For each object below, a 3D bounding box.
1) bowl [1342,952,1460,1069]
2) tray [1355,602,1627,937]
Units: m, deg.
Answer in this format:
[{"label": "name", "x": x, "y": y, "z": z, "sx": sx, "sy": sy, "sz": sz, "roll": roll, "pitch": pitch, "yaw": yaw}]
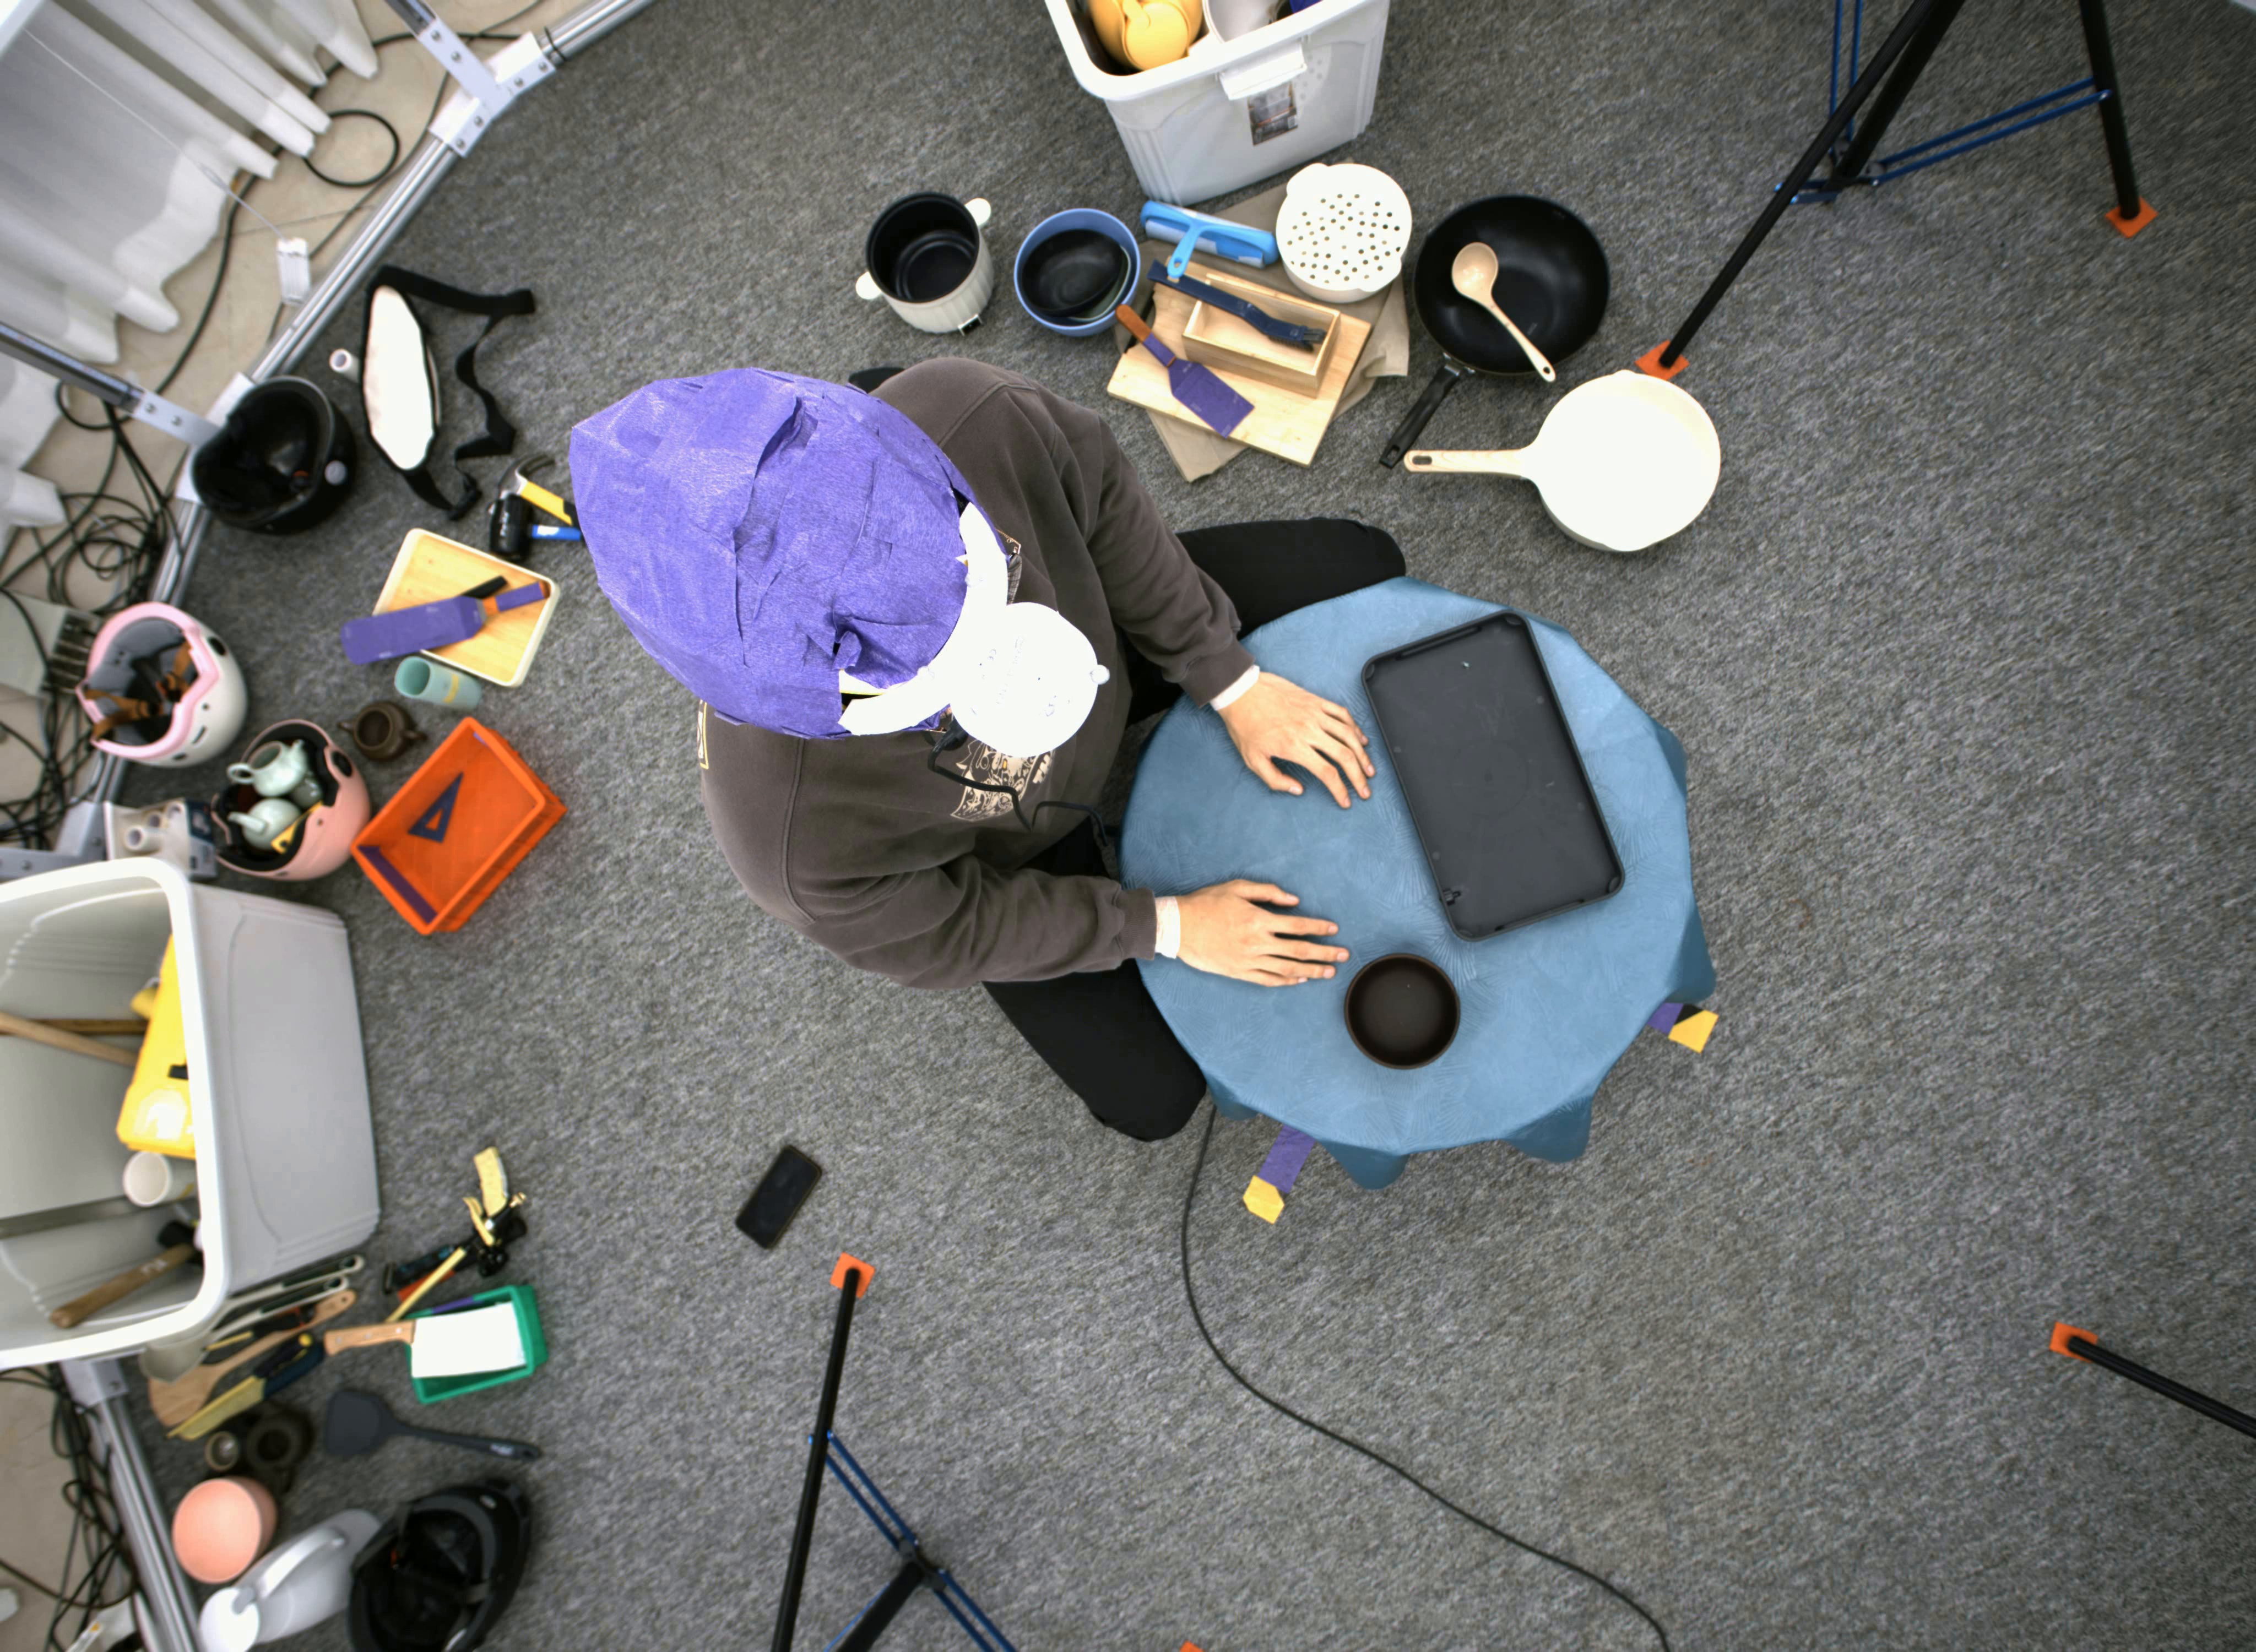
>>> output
[{"label": "bowl", "x": 0.279, "y": 0.187, "z": 1.414, "sx": 0.118, "sy": 0.070, "sz": 0.117, "roll": -1, "pitch": 86, "yaw": 12}, {"label": "tray", "x": 0.374, "y": -0.060, "z": 1.427, "sx": 0.185, "sy": 0.037, "sz": 0.316, "roll": -21, "pitch": 84, "yaw": 9}]
